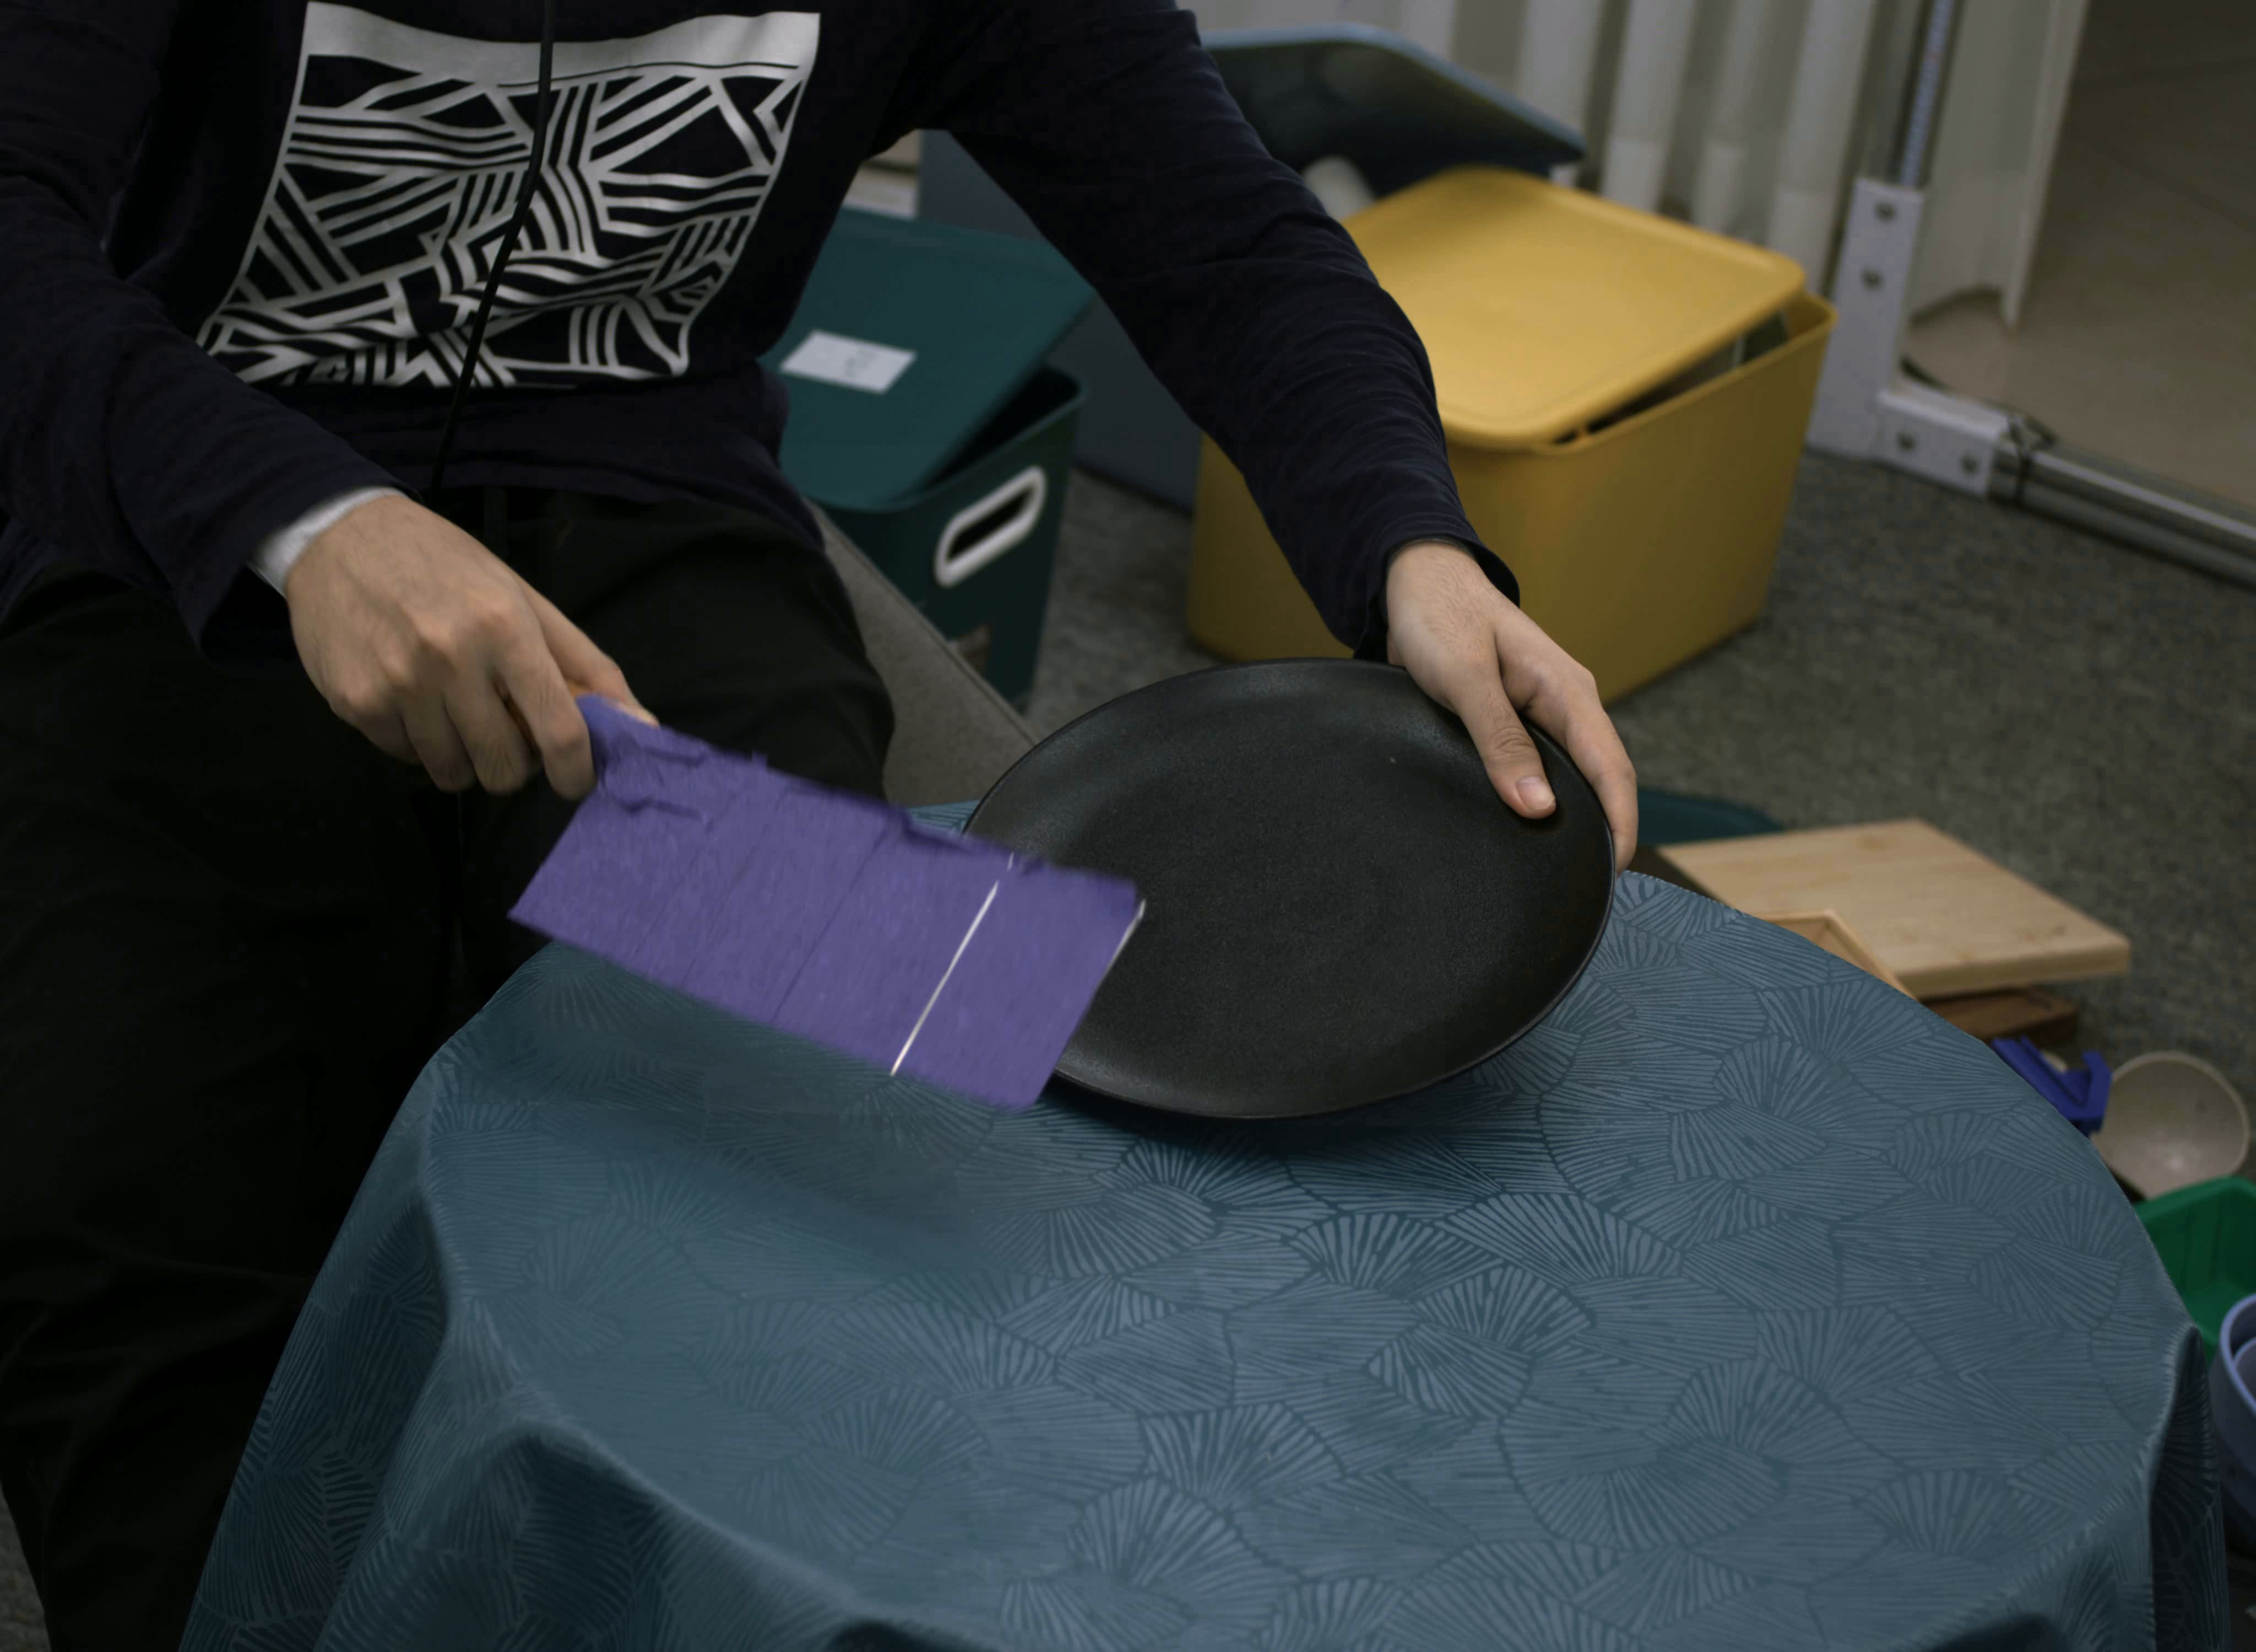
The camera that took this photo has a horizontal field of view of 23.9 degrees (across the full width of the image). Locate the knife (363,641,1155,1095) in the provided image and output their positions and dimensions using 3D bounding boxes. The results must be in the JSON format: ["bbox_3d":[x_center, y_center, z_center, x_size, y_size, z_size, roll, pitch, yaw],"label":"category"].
[{"bbox_3d":[-0.146,0.013,1.814,0.317,0.032,0.104,18,60,27],"label":"knife"}]

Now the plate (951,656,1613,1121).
[{"bbox_3d":[0.054,0.025,1.921,0.244,0.023,0.246,-6,42,5],"label":"plate"}]
